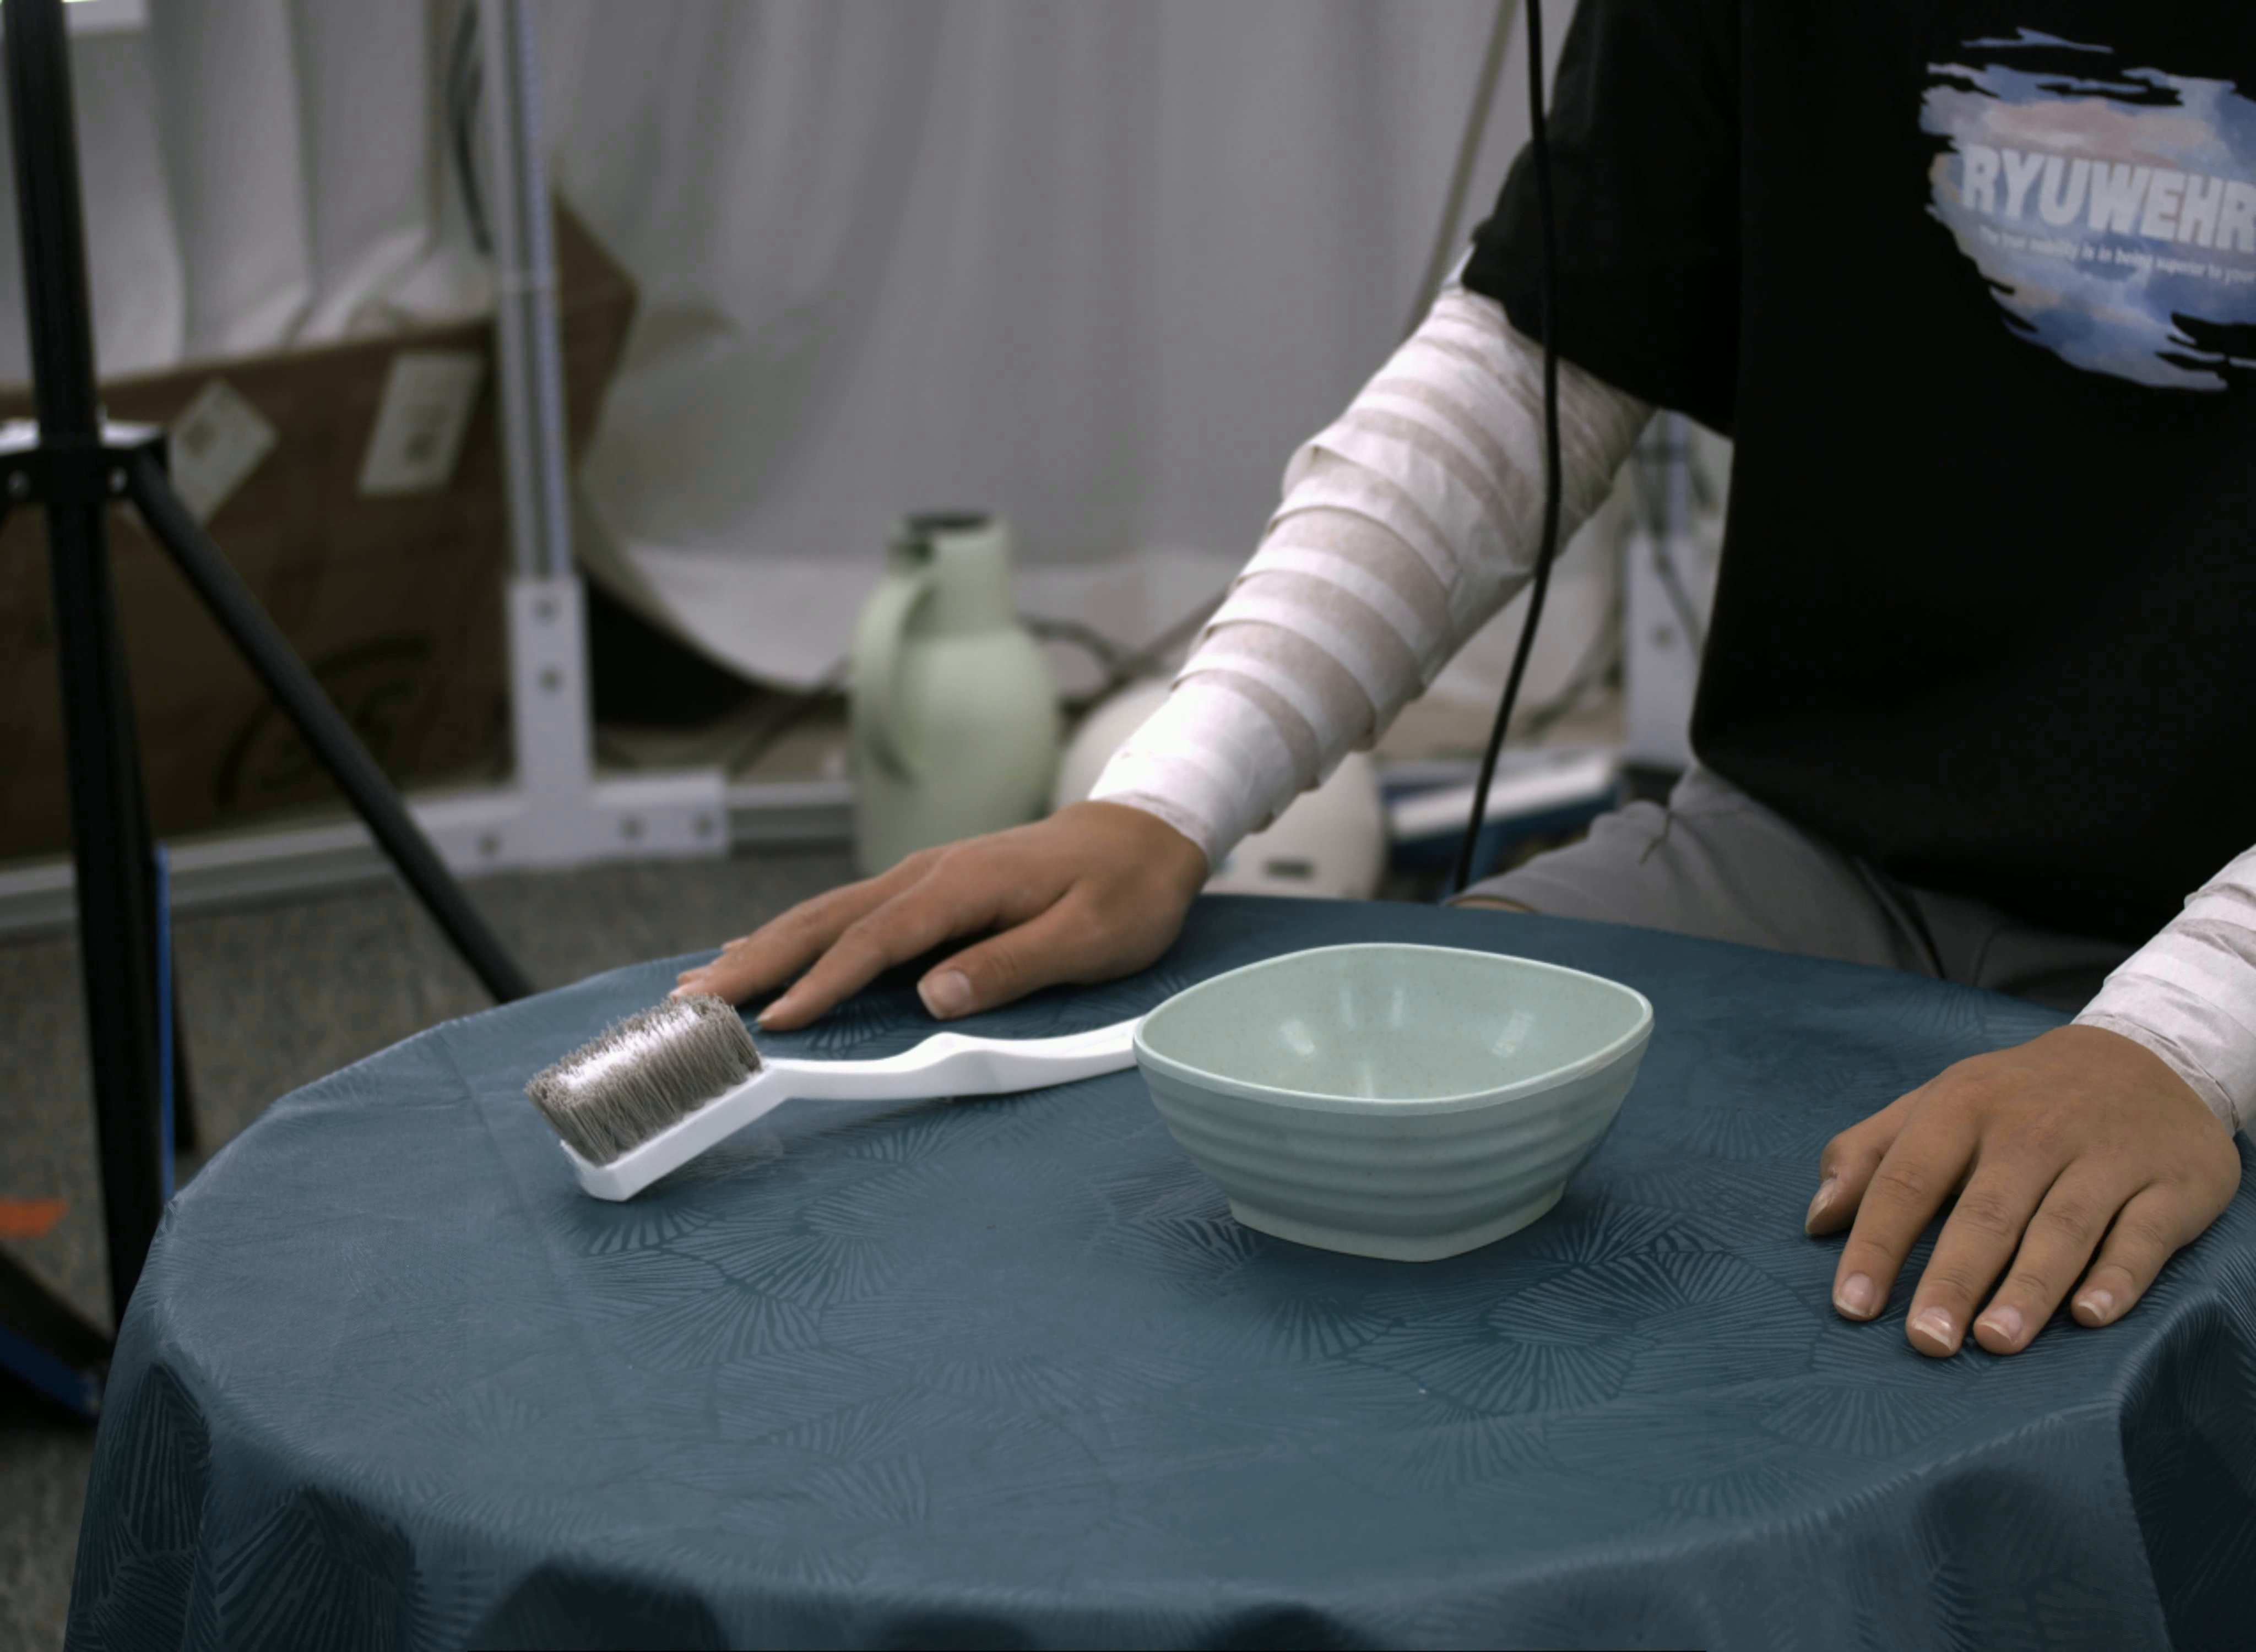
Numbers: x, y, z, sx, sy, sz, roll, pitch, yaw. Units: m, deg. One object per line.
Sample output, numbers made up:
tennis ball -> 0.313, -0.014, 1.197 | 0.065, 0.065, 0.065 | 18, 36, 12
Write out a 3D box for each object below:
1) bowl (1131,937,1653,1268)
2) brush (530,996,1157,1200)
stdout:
bowl -> 0.077, 0.083, 1.532 | 0.150, 0.058, 0.152 | -2, 17, -1
brush -> -0.070, 0.065, 1.629 | 0.238, 0.050, 0.035 | -13, 18, -30
